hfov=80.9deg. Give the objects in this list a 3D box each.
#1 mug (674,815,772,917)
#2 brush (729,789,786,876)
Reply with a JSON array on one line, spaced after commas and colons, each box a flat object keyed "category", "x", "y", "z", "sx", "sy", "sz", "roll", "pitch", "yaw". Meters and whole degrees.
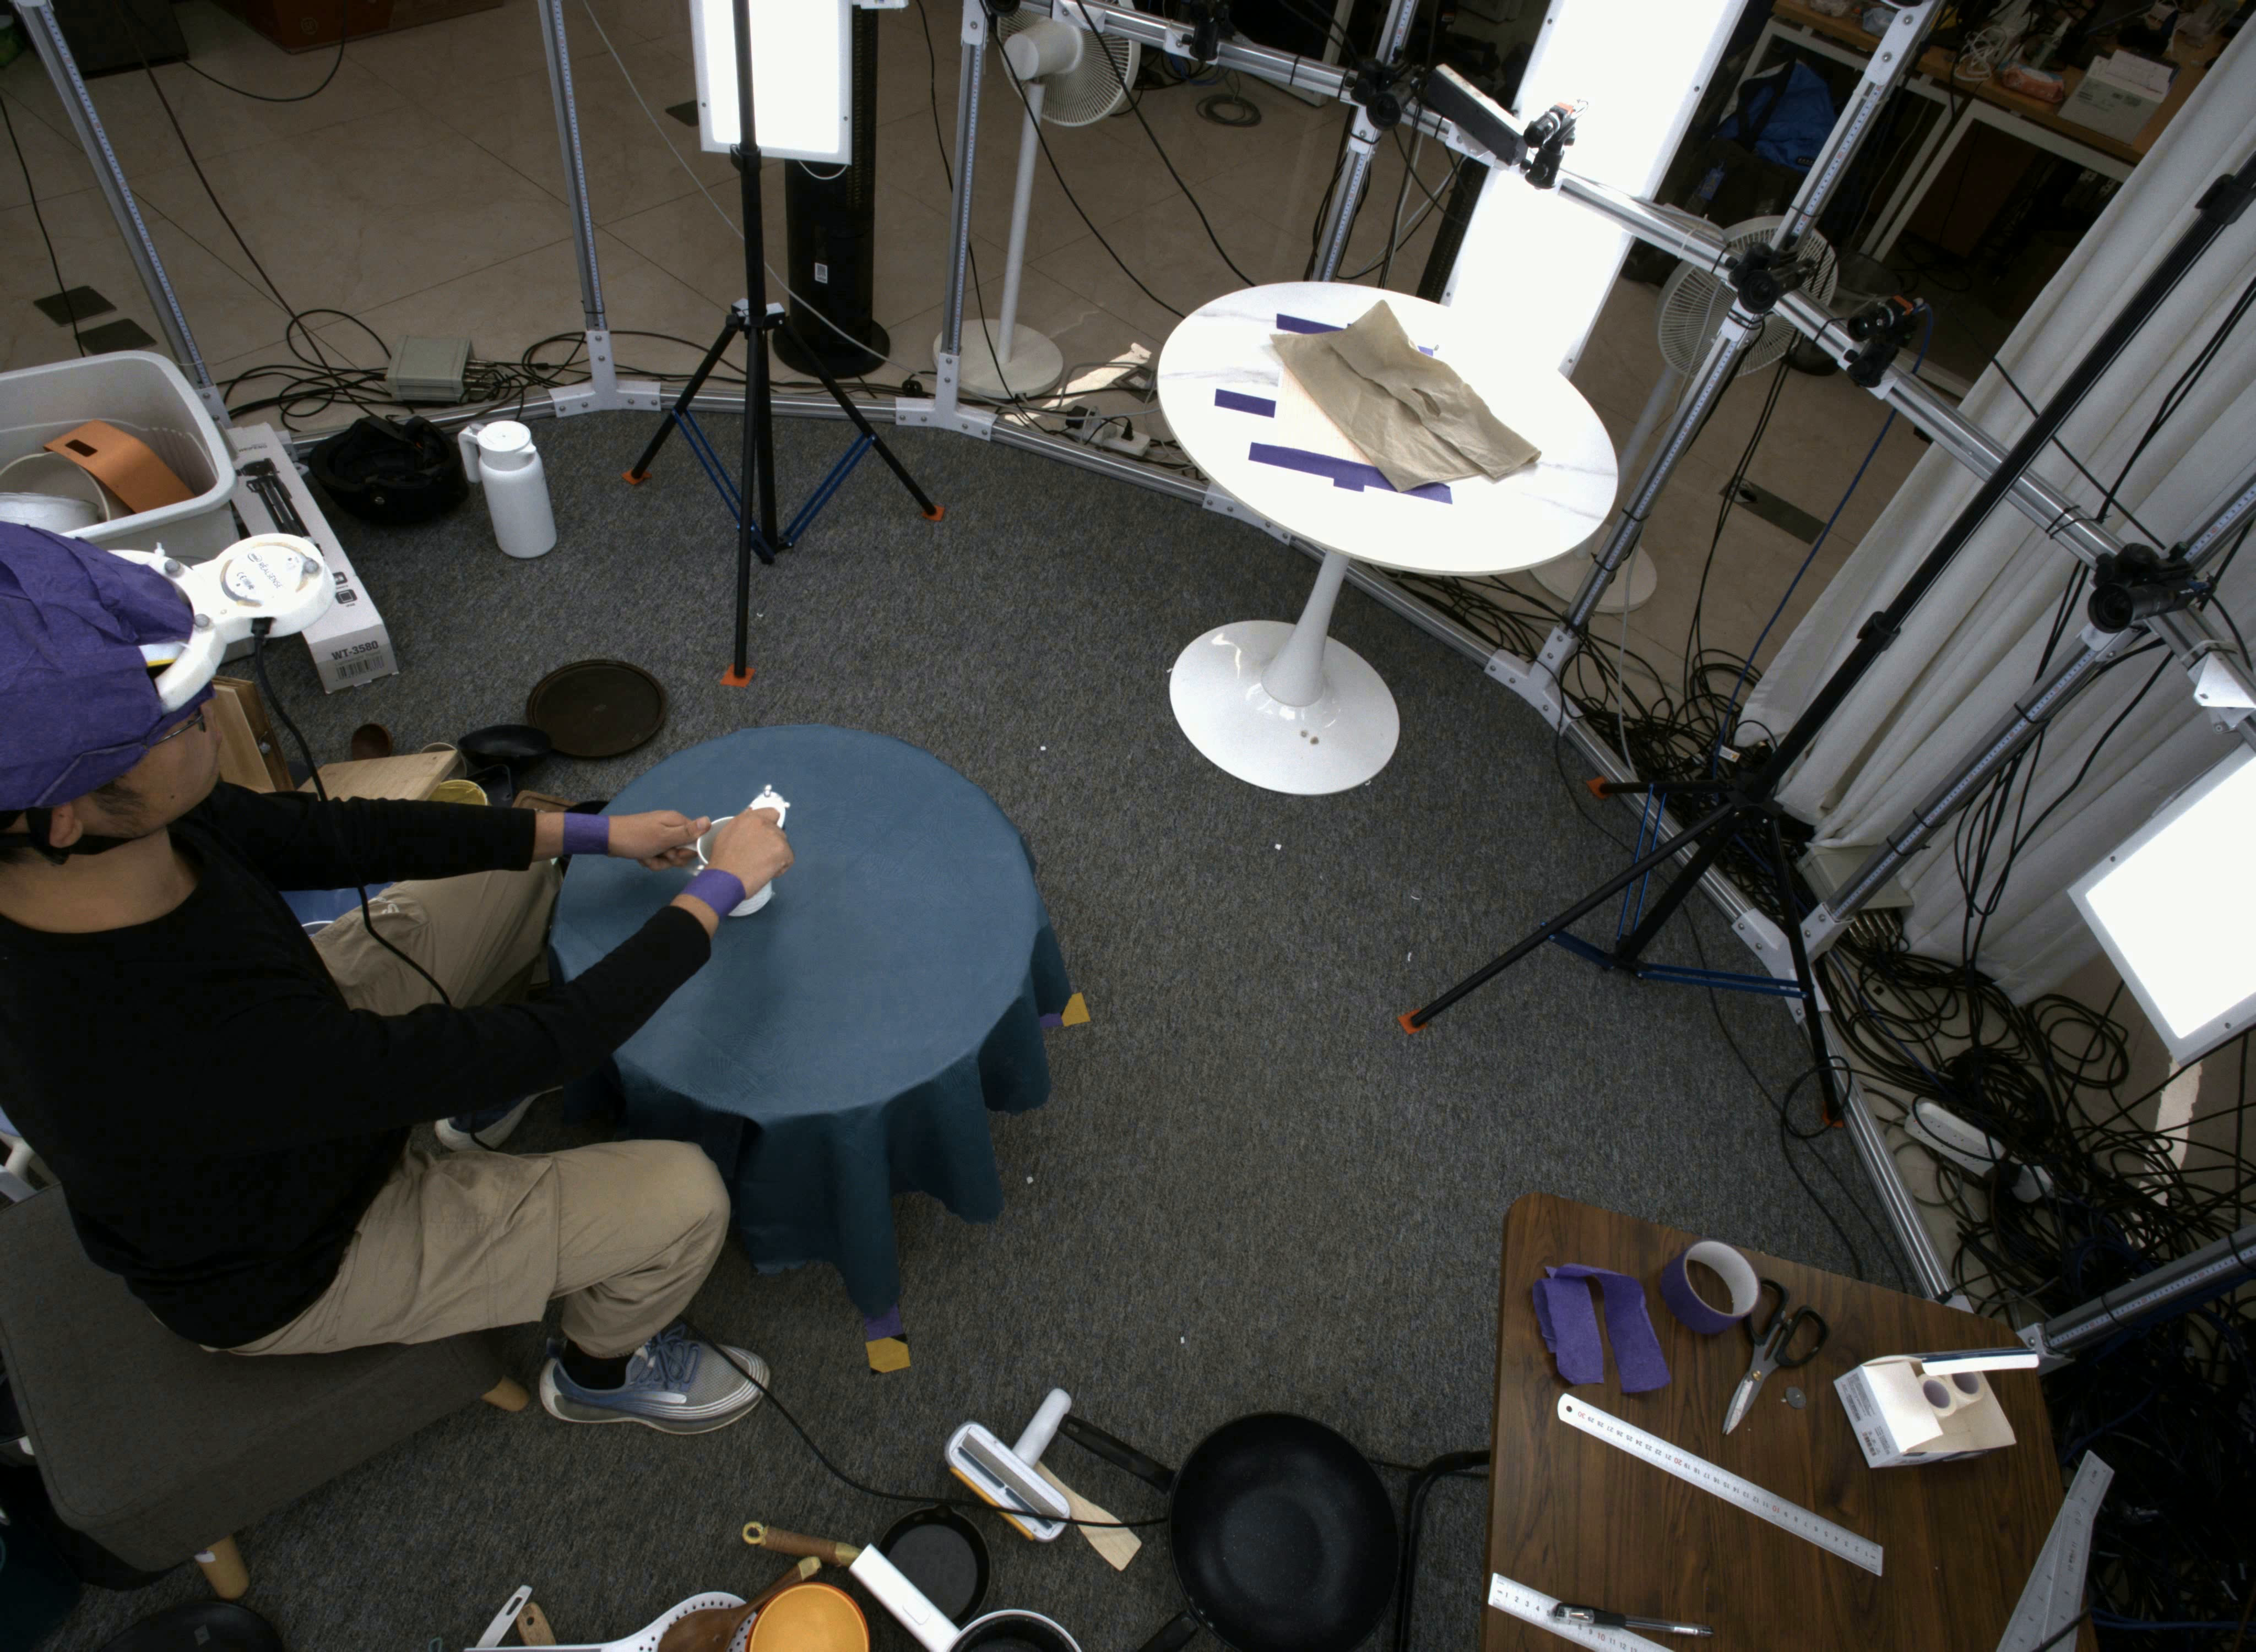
[{"category": "mug", "x": -0.504, "y": 0.047, "z": 1.606, "sx": 0.118, "sy": 0.104, "sz": 0.083, "roll": 9, "pitch": 50, "yaw": -5}, {"category": "brush", "x": -0.445, "y": -0.001, "z": 1.551, "sx": 0.050, "sy": 0.074, "sz": 0.098, "roll": 19, "pitch": 51, "yaw": -1}]
